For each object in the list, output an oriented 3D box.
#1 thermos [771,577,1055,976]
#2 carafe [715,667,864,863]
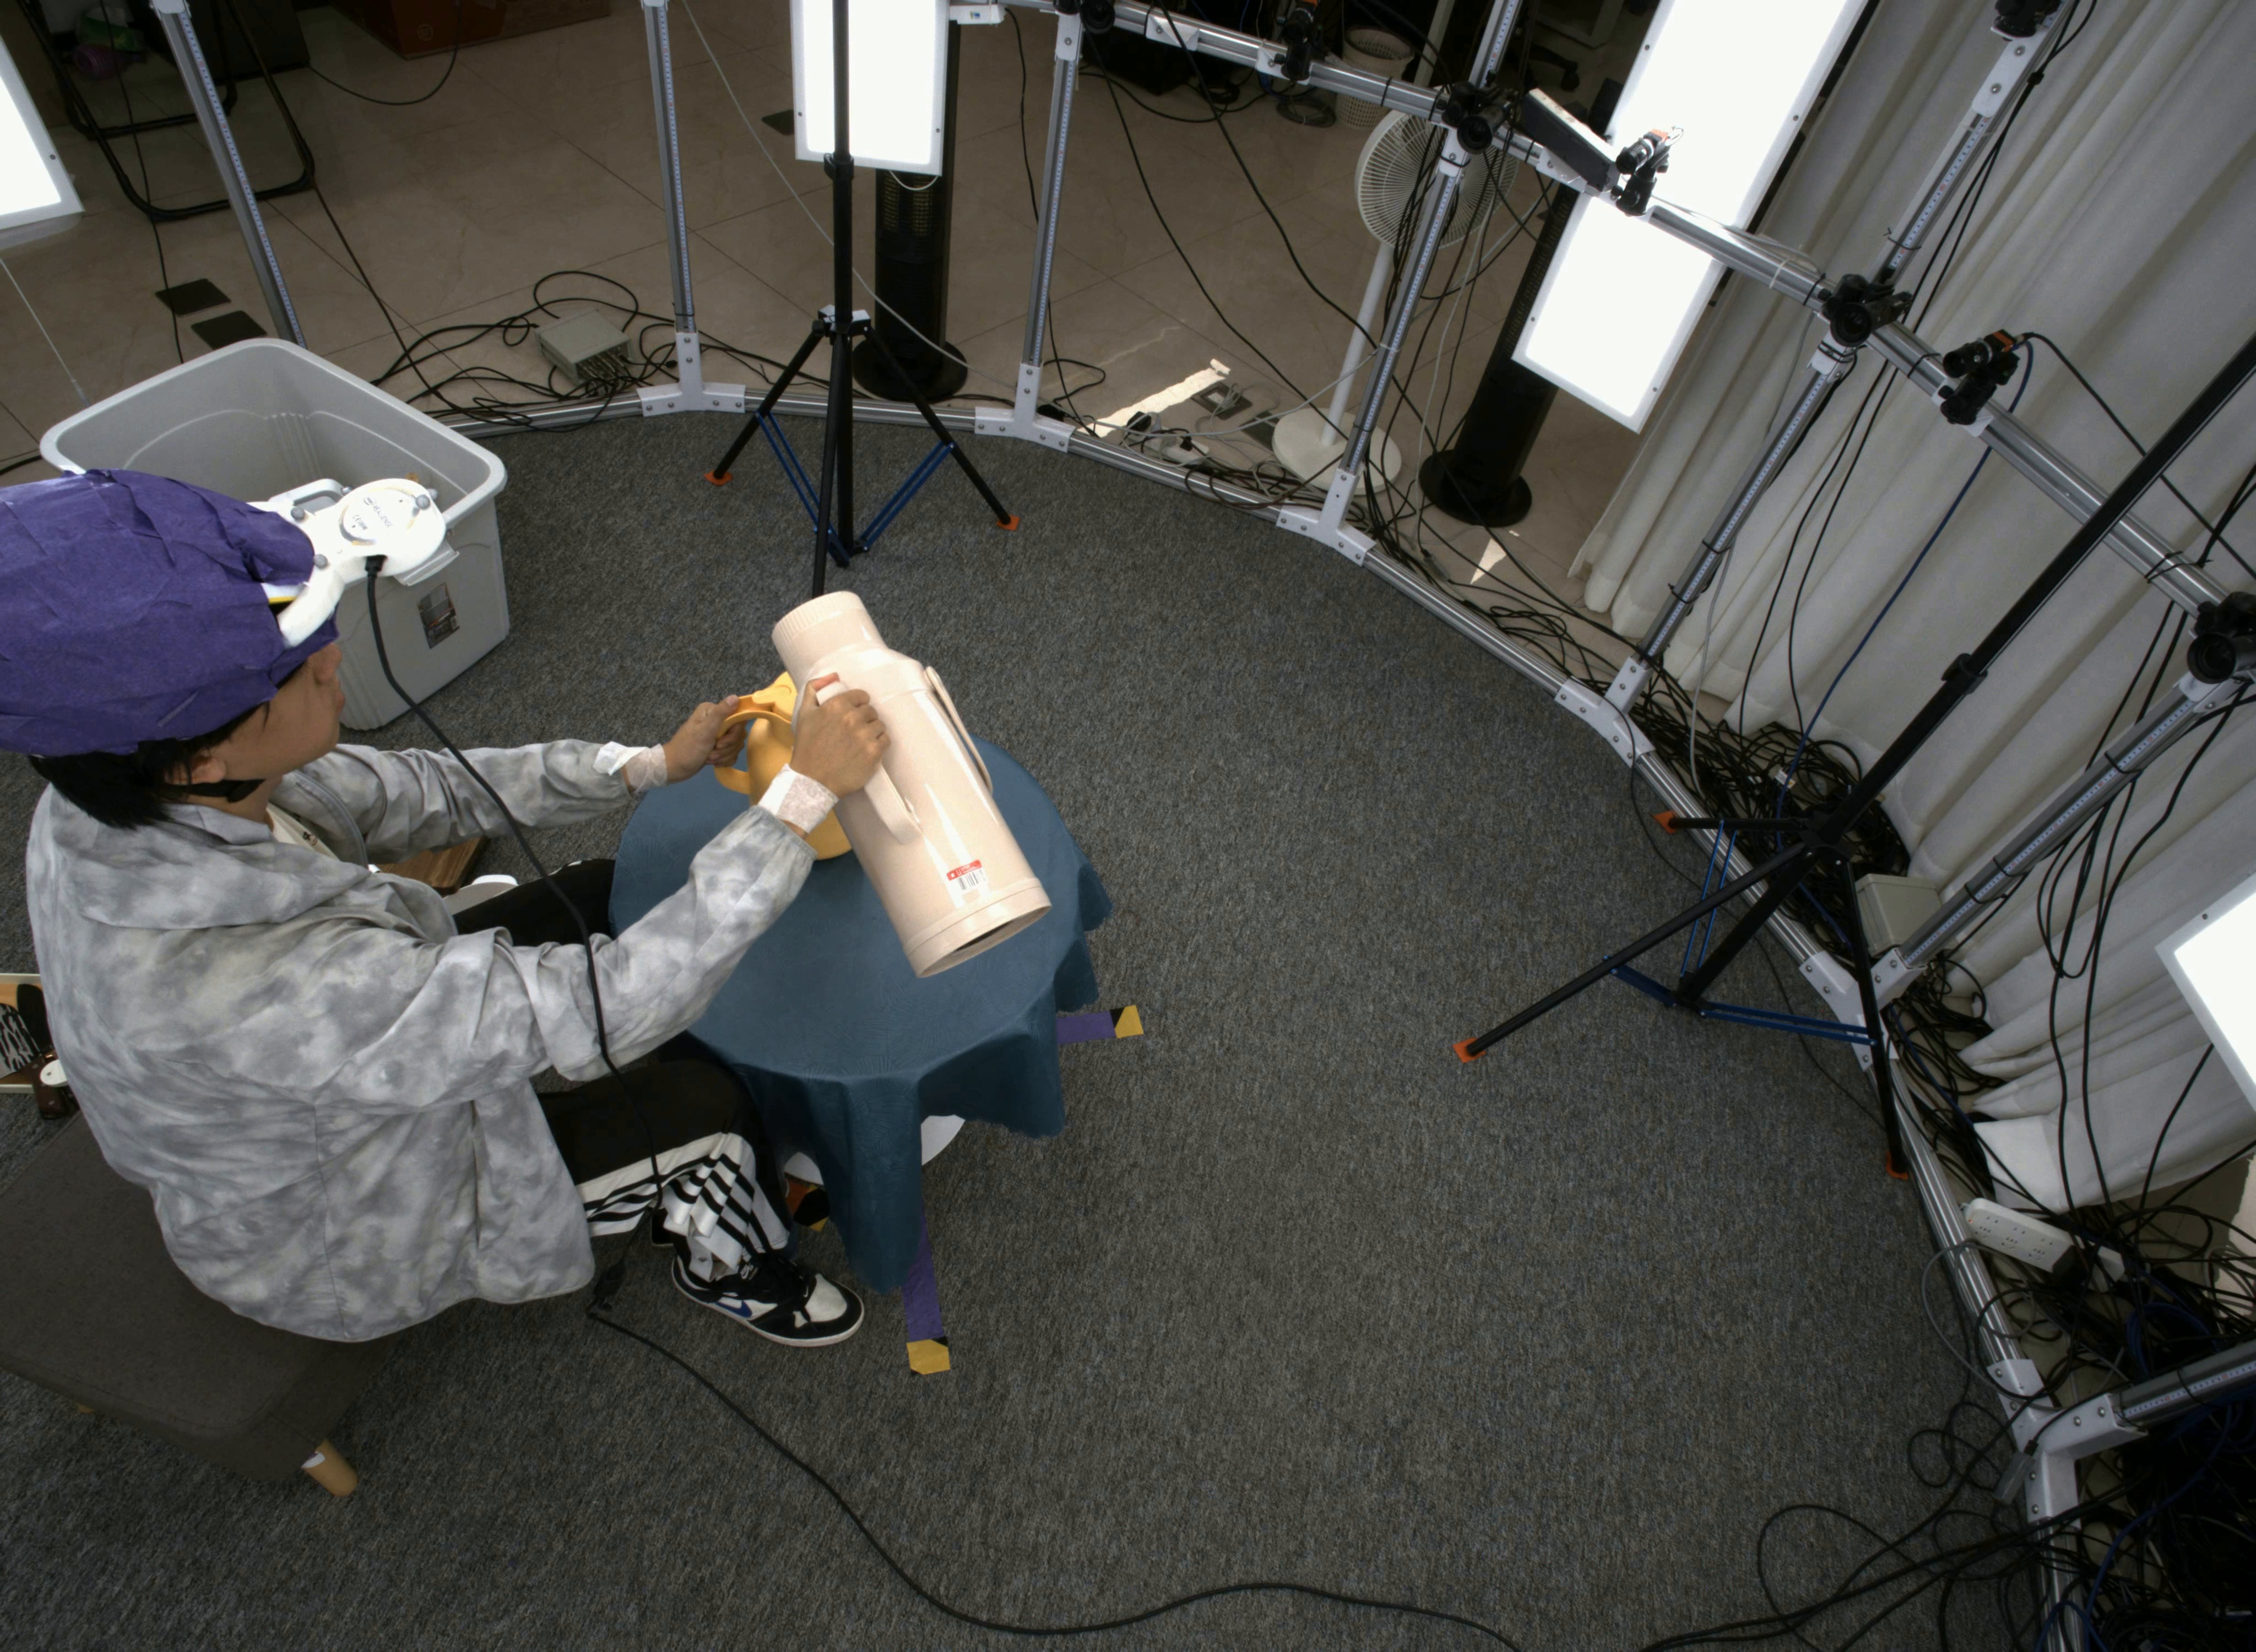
[{"bbox_3d":[-0.241,-0.058,1.348,0.174,0.208,0.406,-29,85,5],"label":"thermos"},{"bbox_3d":[-0.410,-0.085,1.624,0.203,0.266,0.159,-6,52,-17],"label":"carafe"}]
